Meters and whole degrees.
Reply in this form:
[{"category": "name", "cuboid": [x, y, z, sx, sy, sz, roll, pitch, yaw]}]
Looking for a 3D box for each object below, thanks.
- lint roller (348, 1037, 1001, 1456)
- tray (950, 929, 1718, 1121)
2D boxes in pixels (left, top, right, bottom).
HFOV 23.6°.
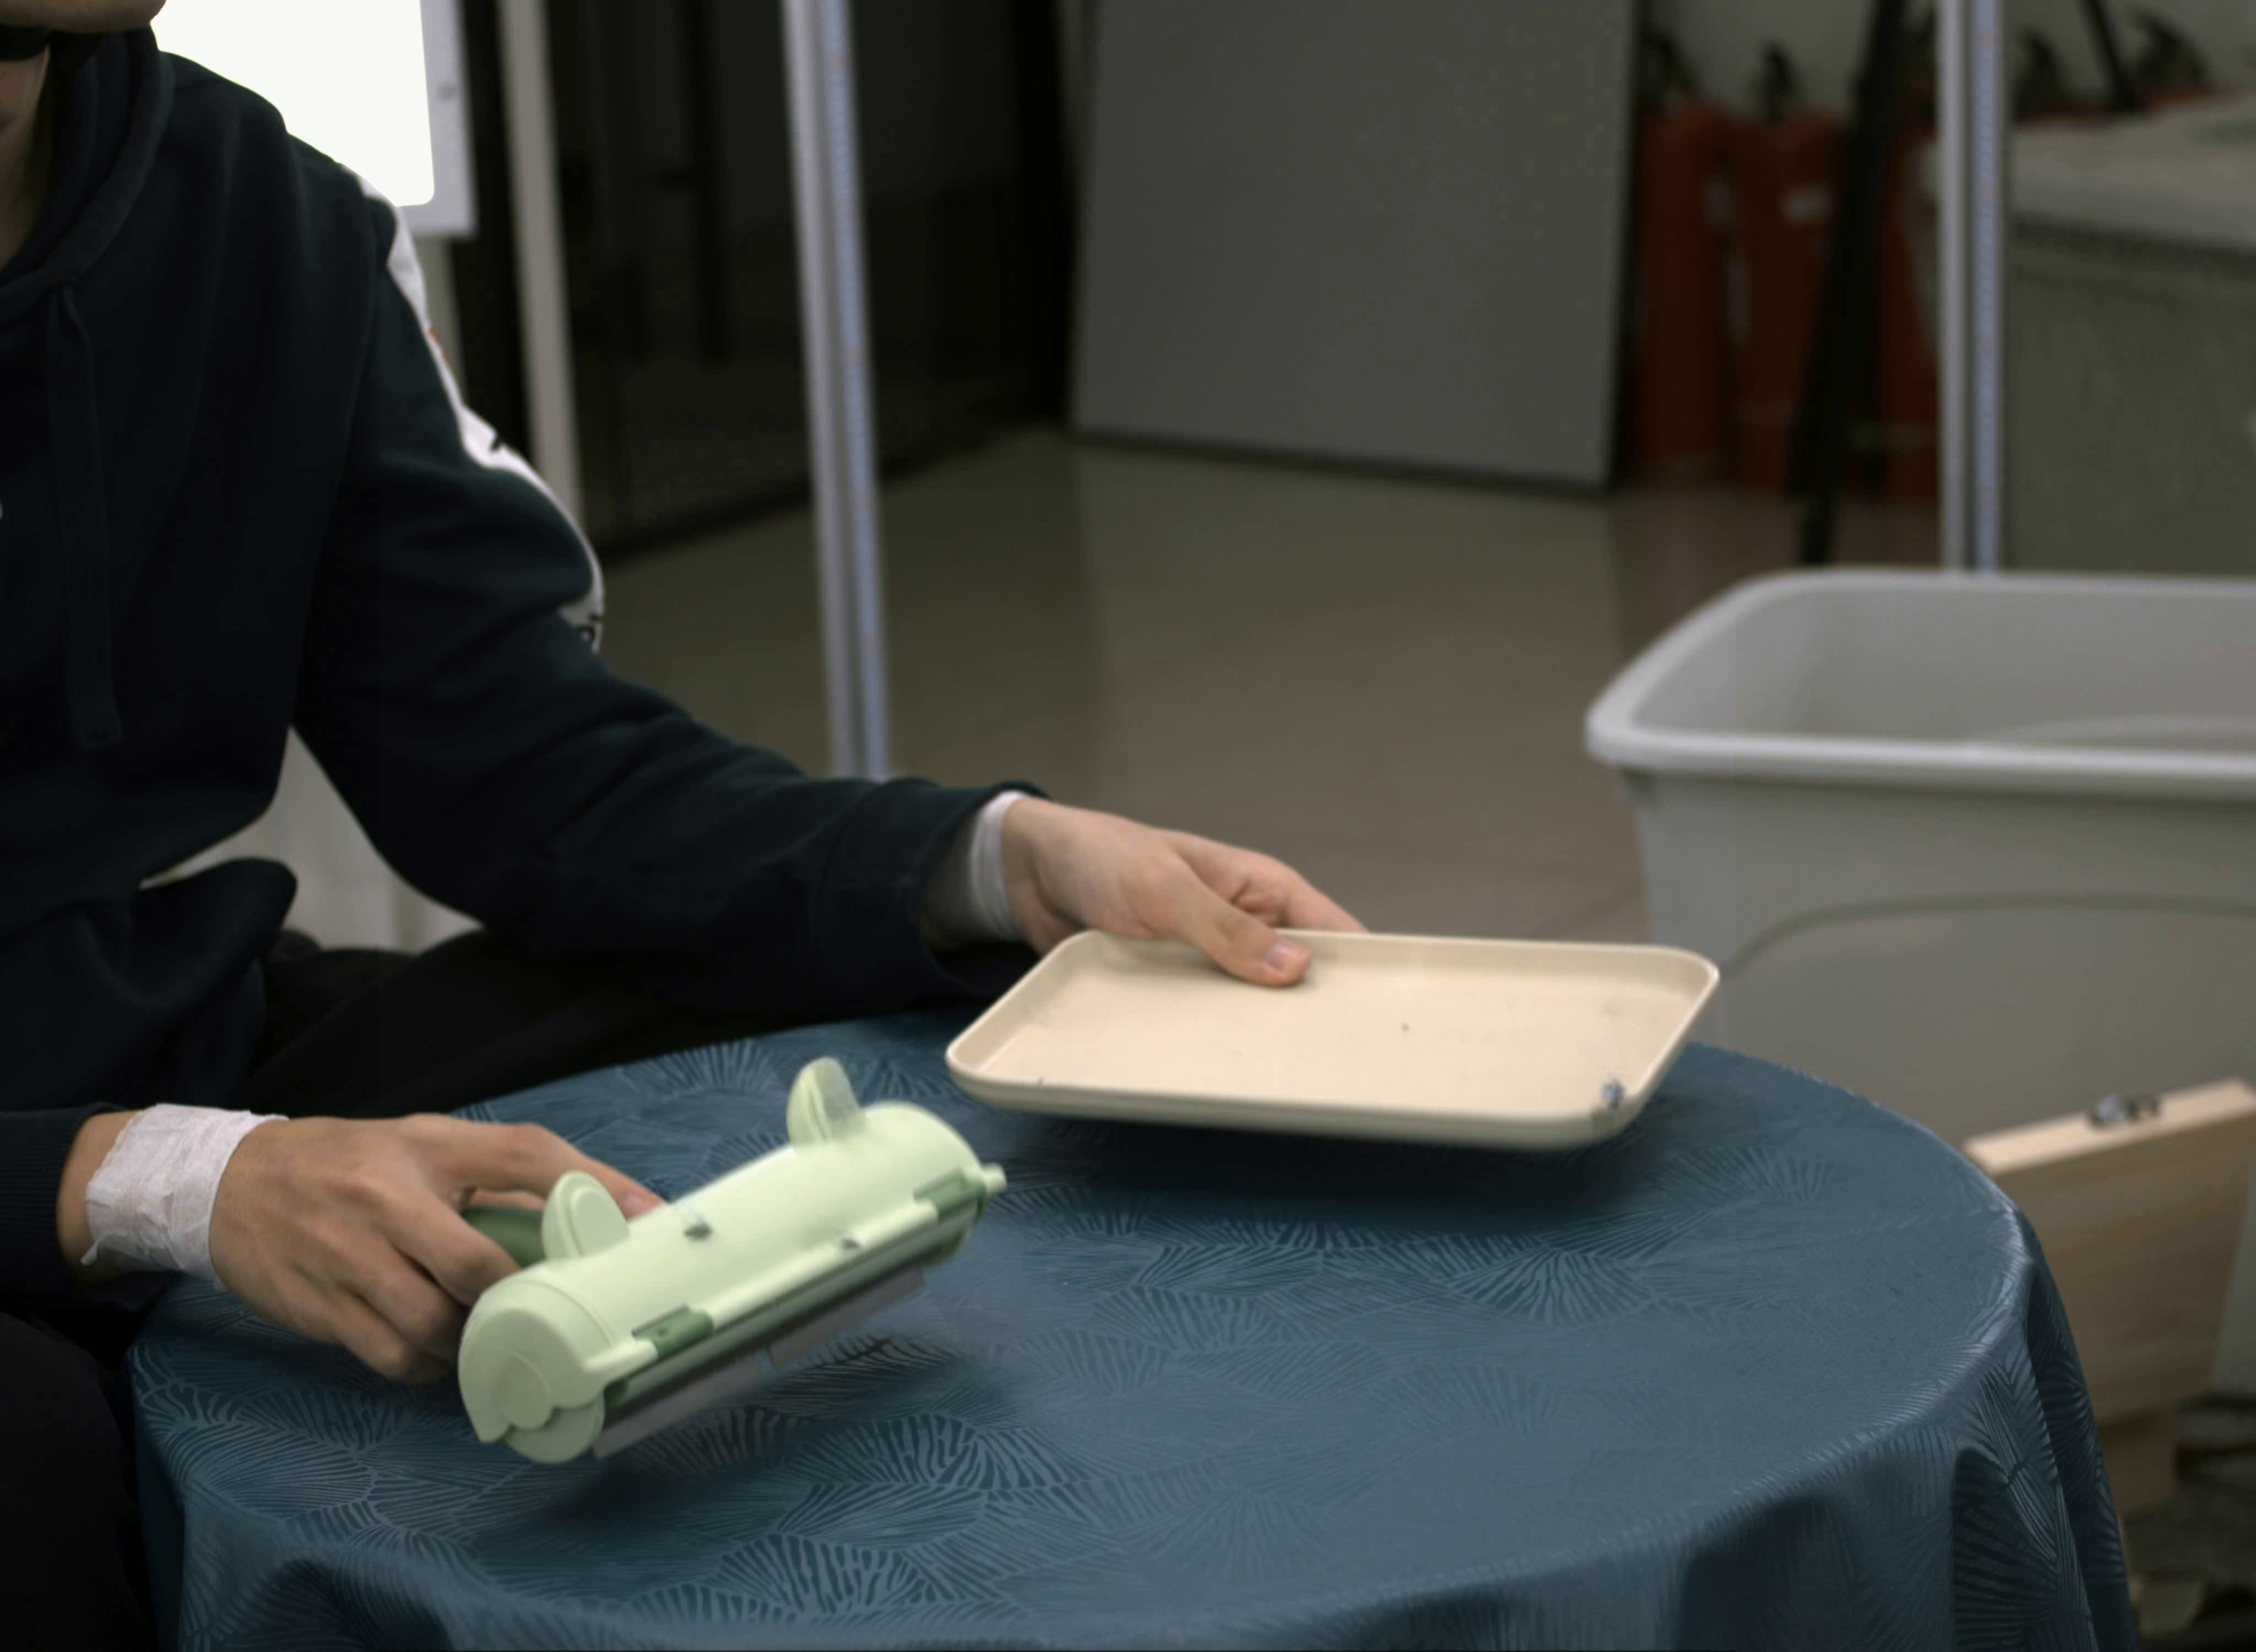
[{"category": "lint roller", "cuboid": [-0.162, 0.112, 1.598, 0.184, 0.083, 0.195, 9, 20, 33]}, {"category": "tray", "cuboid": [0.071, 0.067, 1.802, 0.239, 0.017, 0.169, 1, 15, 20]}]
